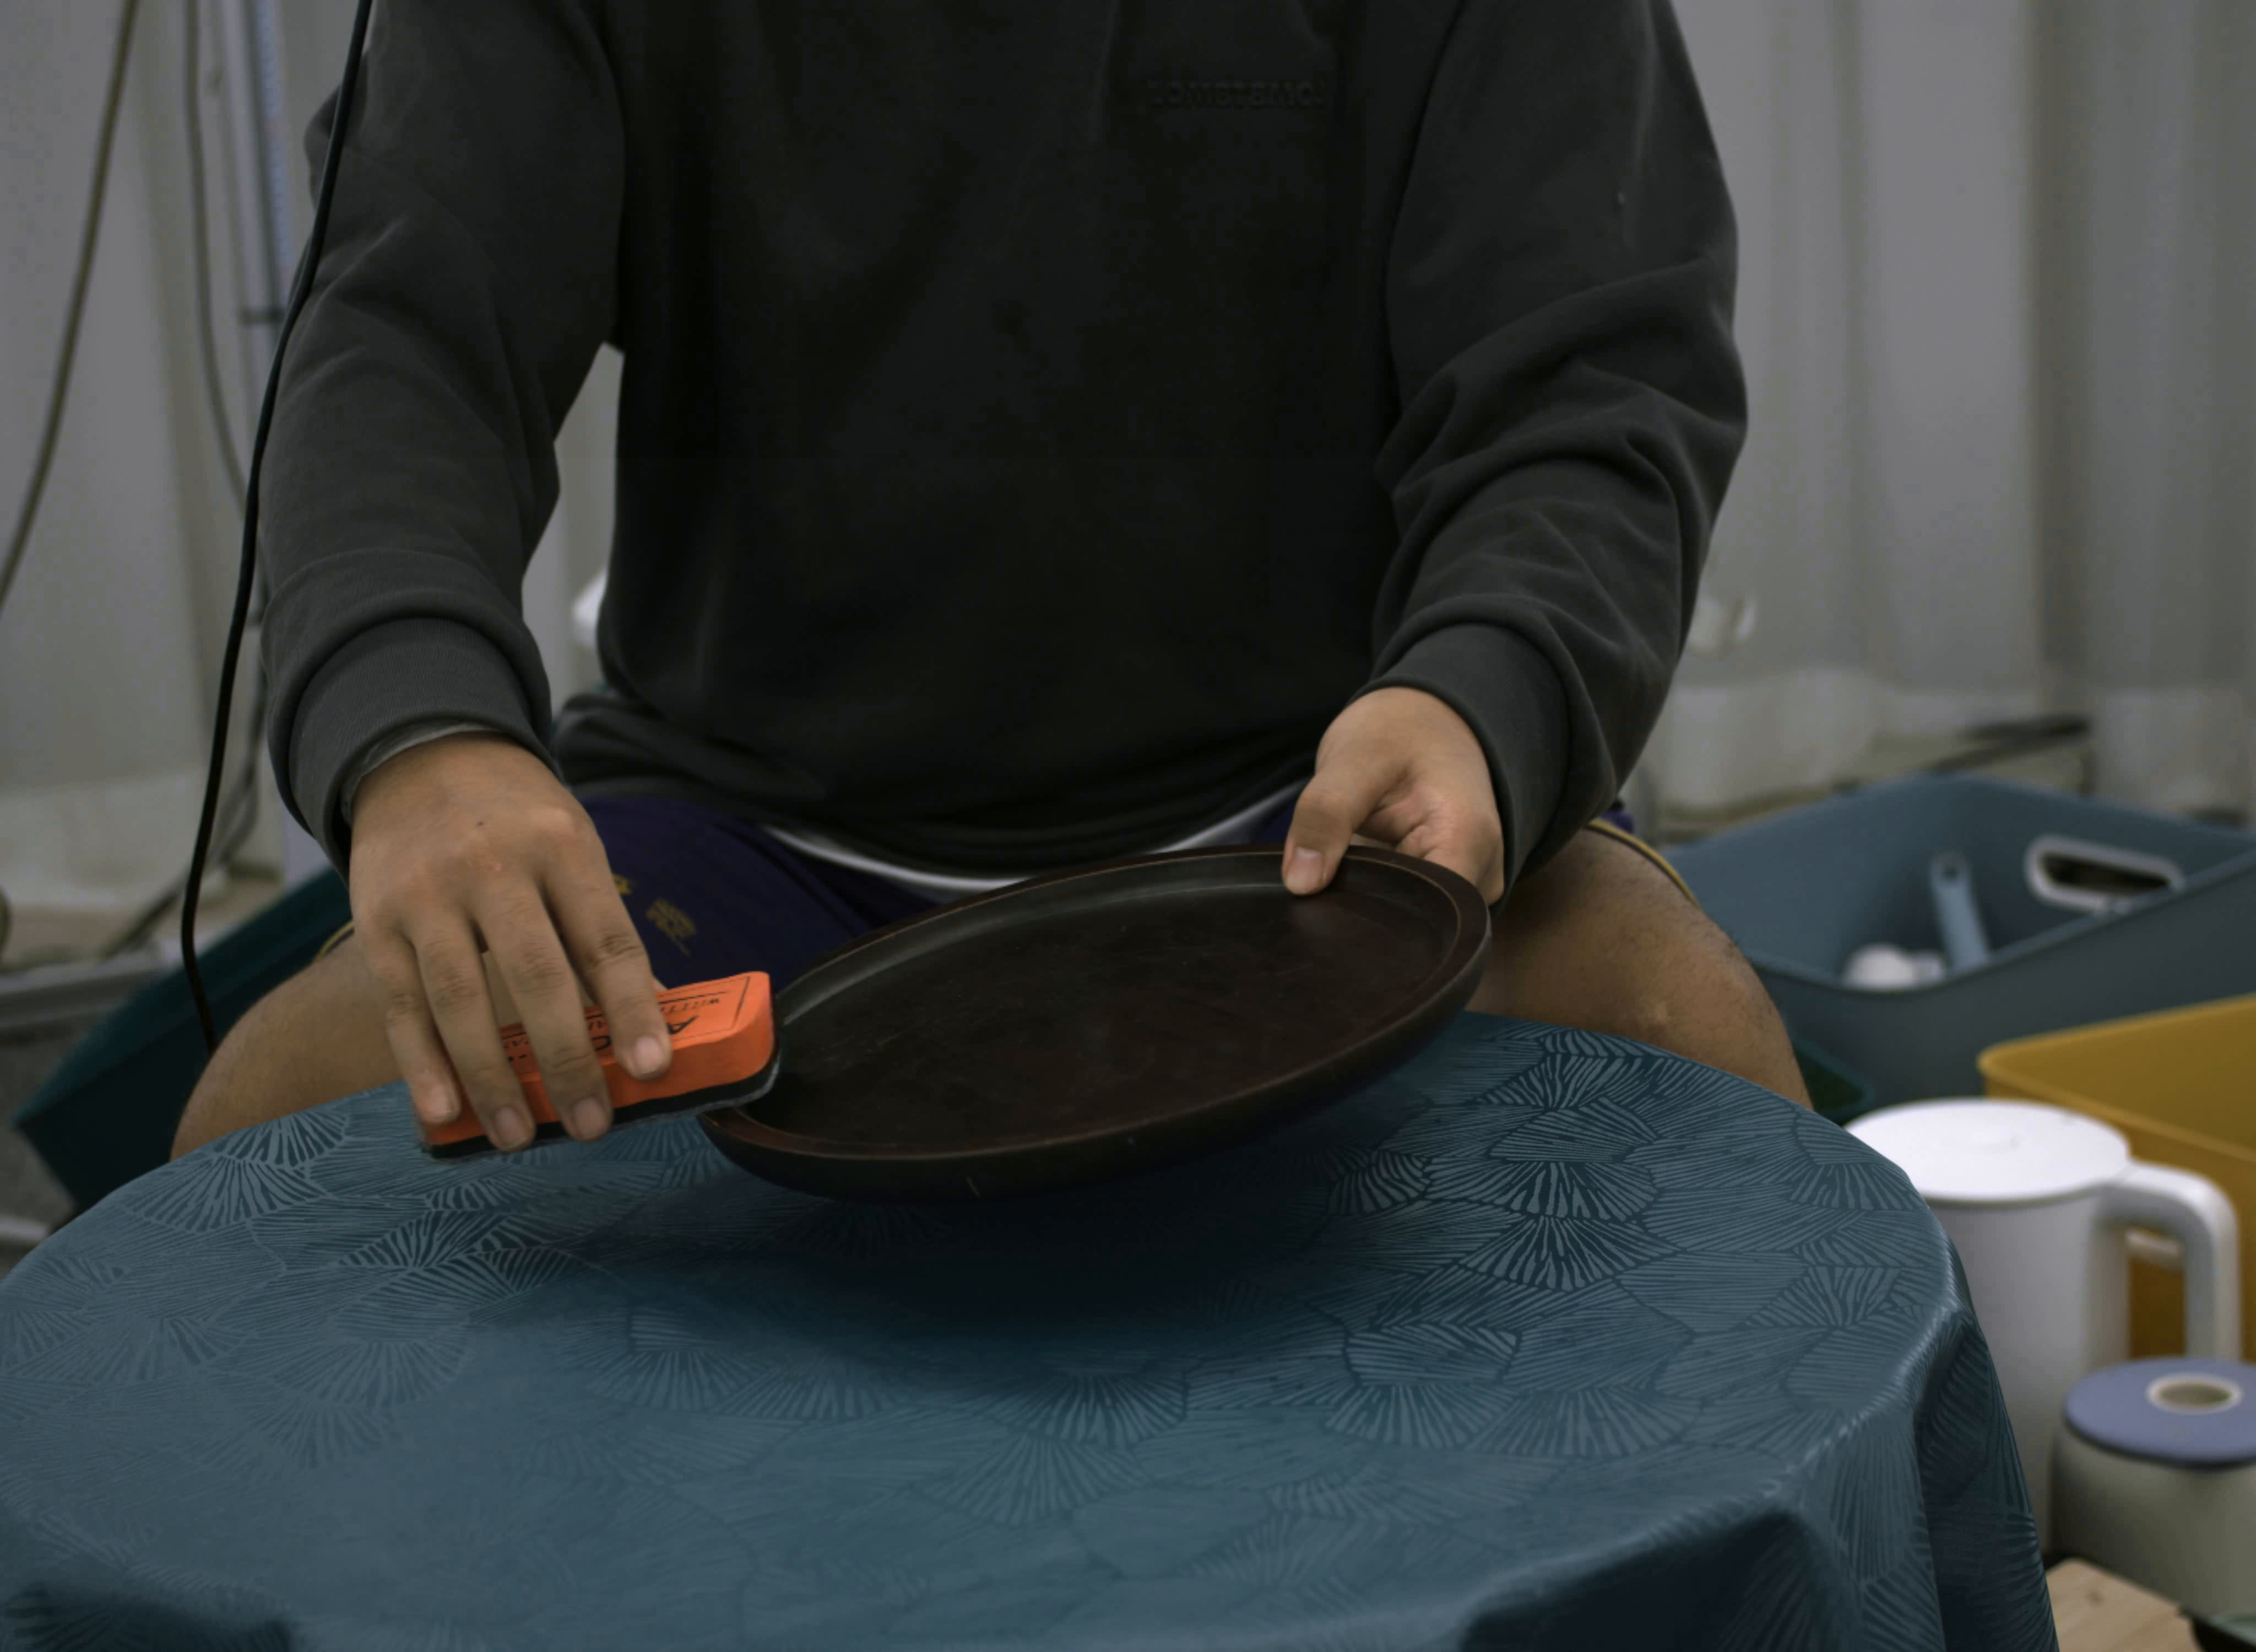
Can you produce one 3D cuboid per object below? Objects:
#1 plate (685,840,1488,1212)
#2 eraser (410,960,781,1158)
[{"bbox_3d":[-0.012,0.059,1.681,0.254,0.029,0.257,-13,16,4],"label":"plate"},{"bbox_3d":[-0.162,0.071,1.671,0.108,0.023,0.059,-14,16,9],"label":"eraser"}]
